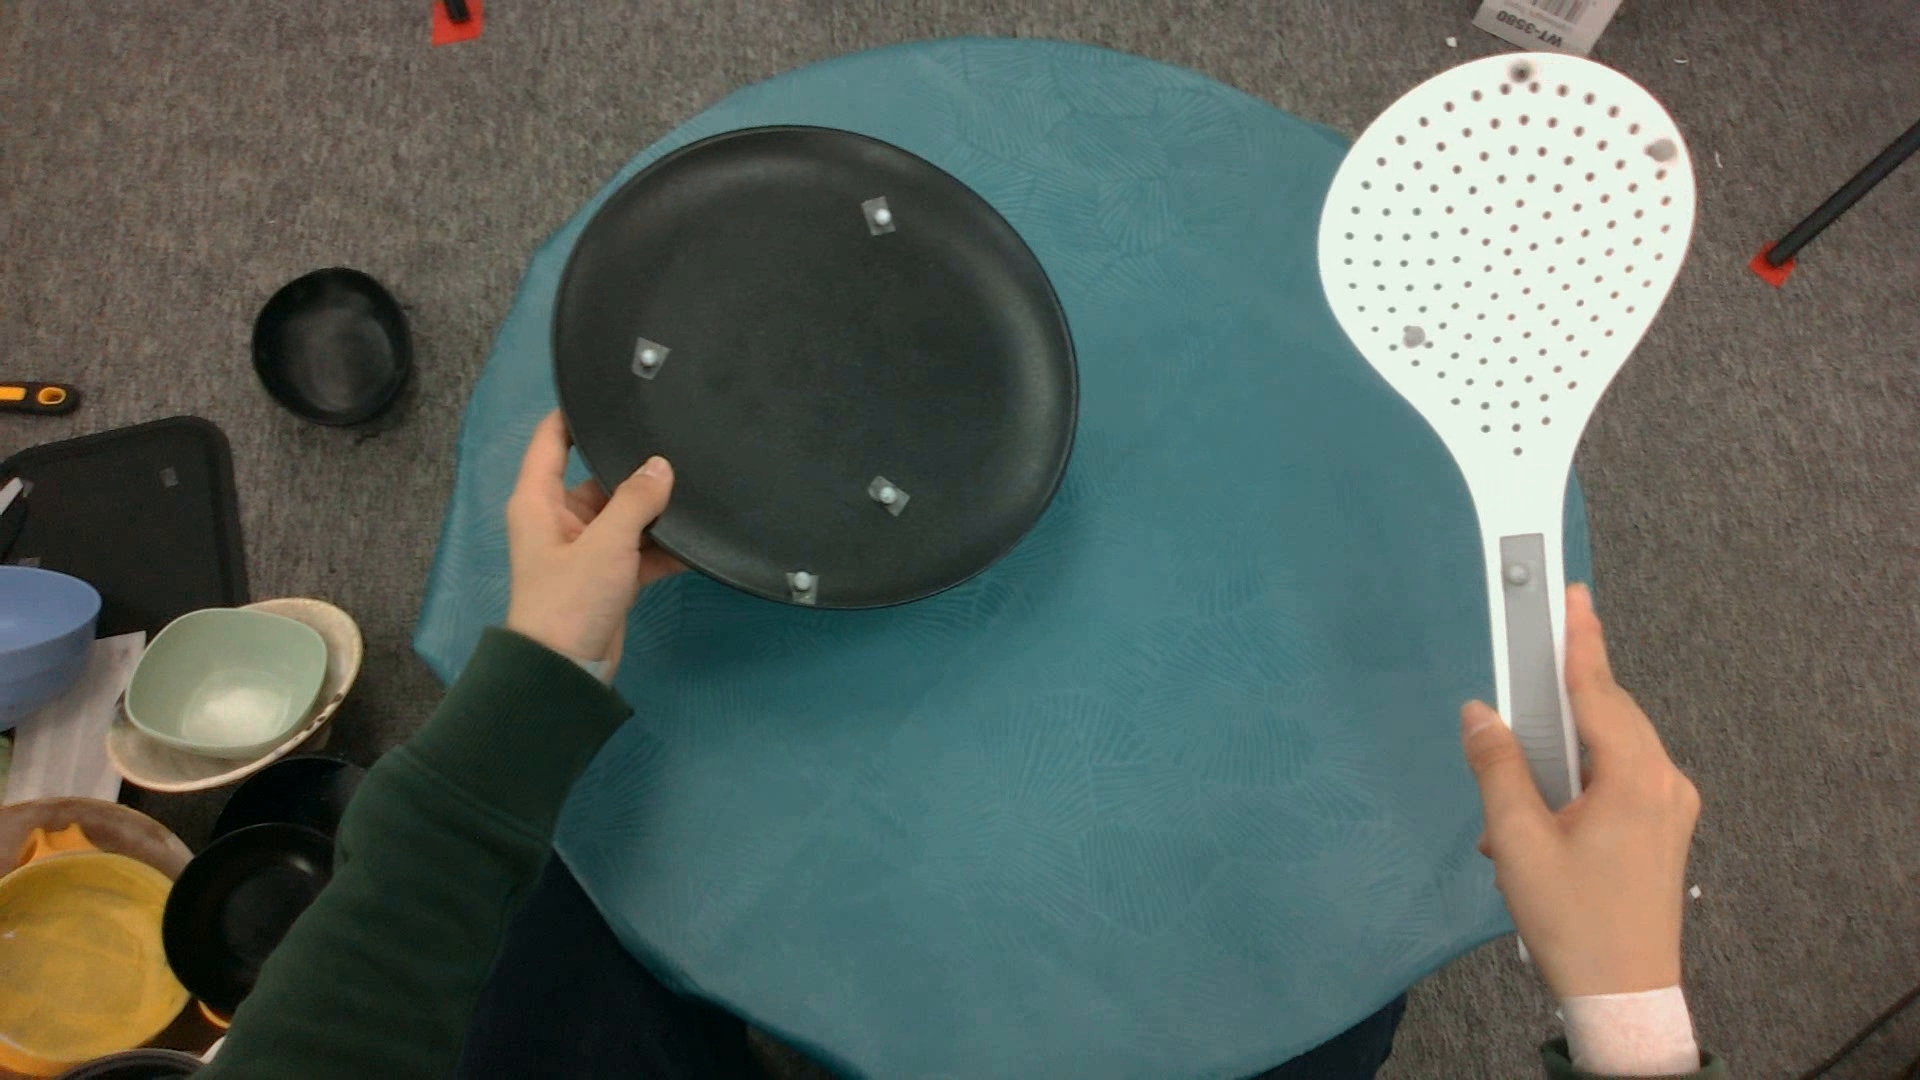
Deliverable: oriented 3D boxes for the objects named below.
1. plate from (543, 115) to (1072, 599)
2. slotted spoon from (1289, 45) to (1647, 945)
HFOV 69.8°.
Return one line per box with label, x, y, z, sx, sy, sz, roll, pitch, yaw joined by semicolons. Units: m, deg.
plate;-0.066;-0.087;0.639;0.244;0.023;0.245;5;70;-14
slotted spoon;0.206;-0.024;0.535;0.135;0.046;0.350;-8;74;27
